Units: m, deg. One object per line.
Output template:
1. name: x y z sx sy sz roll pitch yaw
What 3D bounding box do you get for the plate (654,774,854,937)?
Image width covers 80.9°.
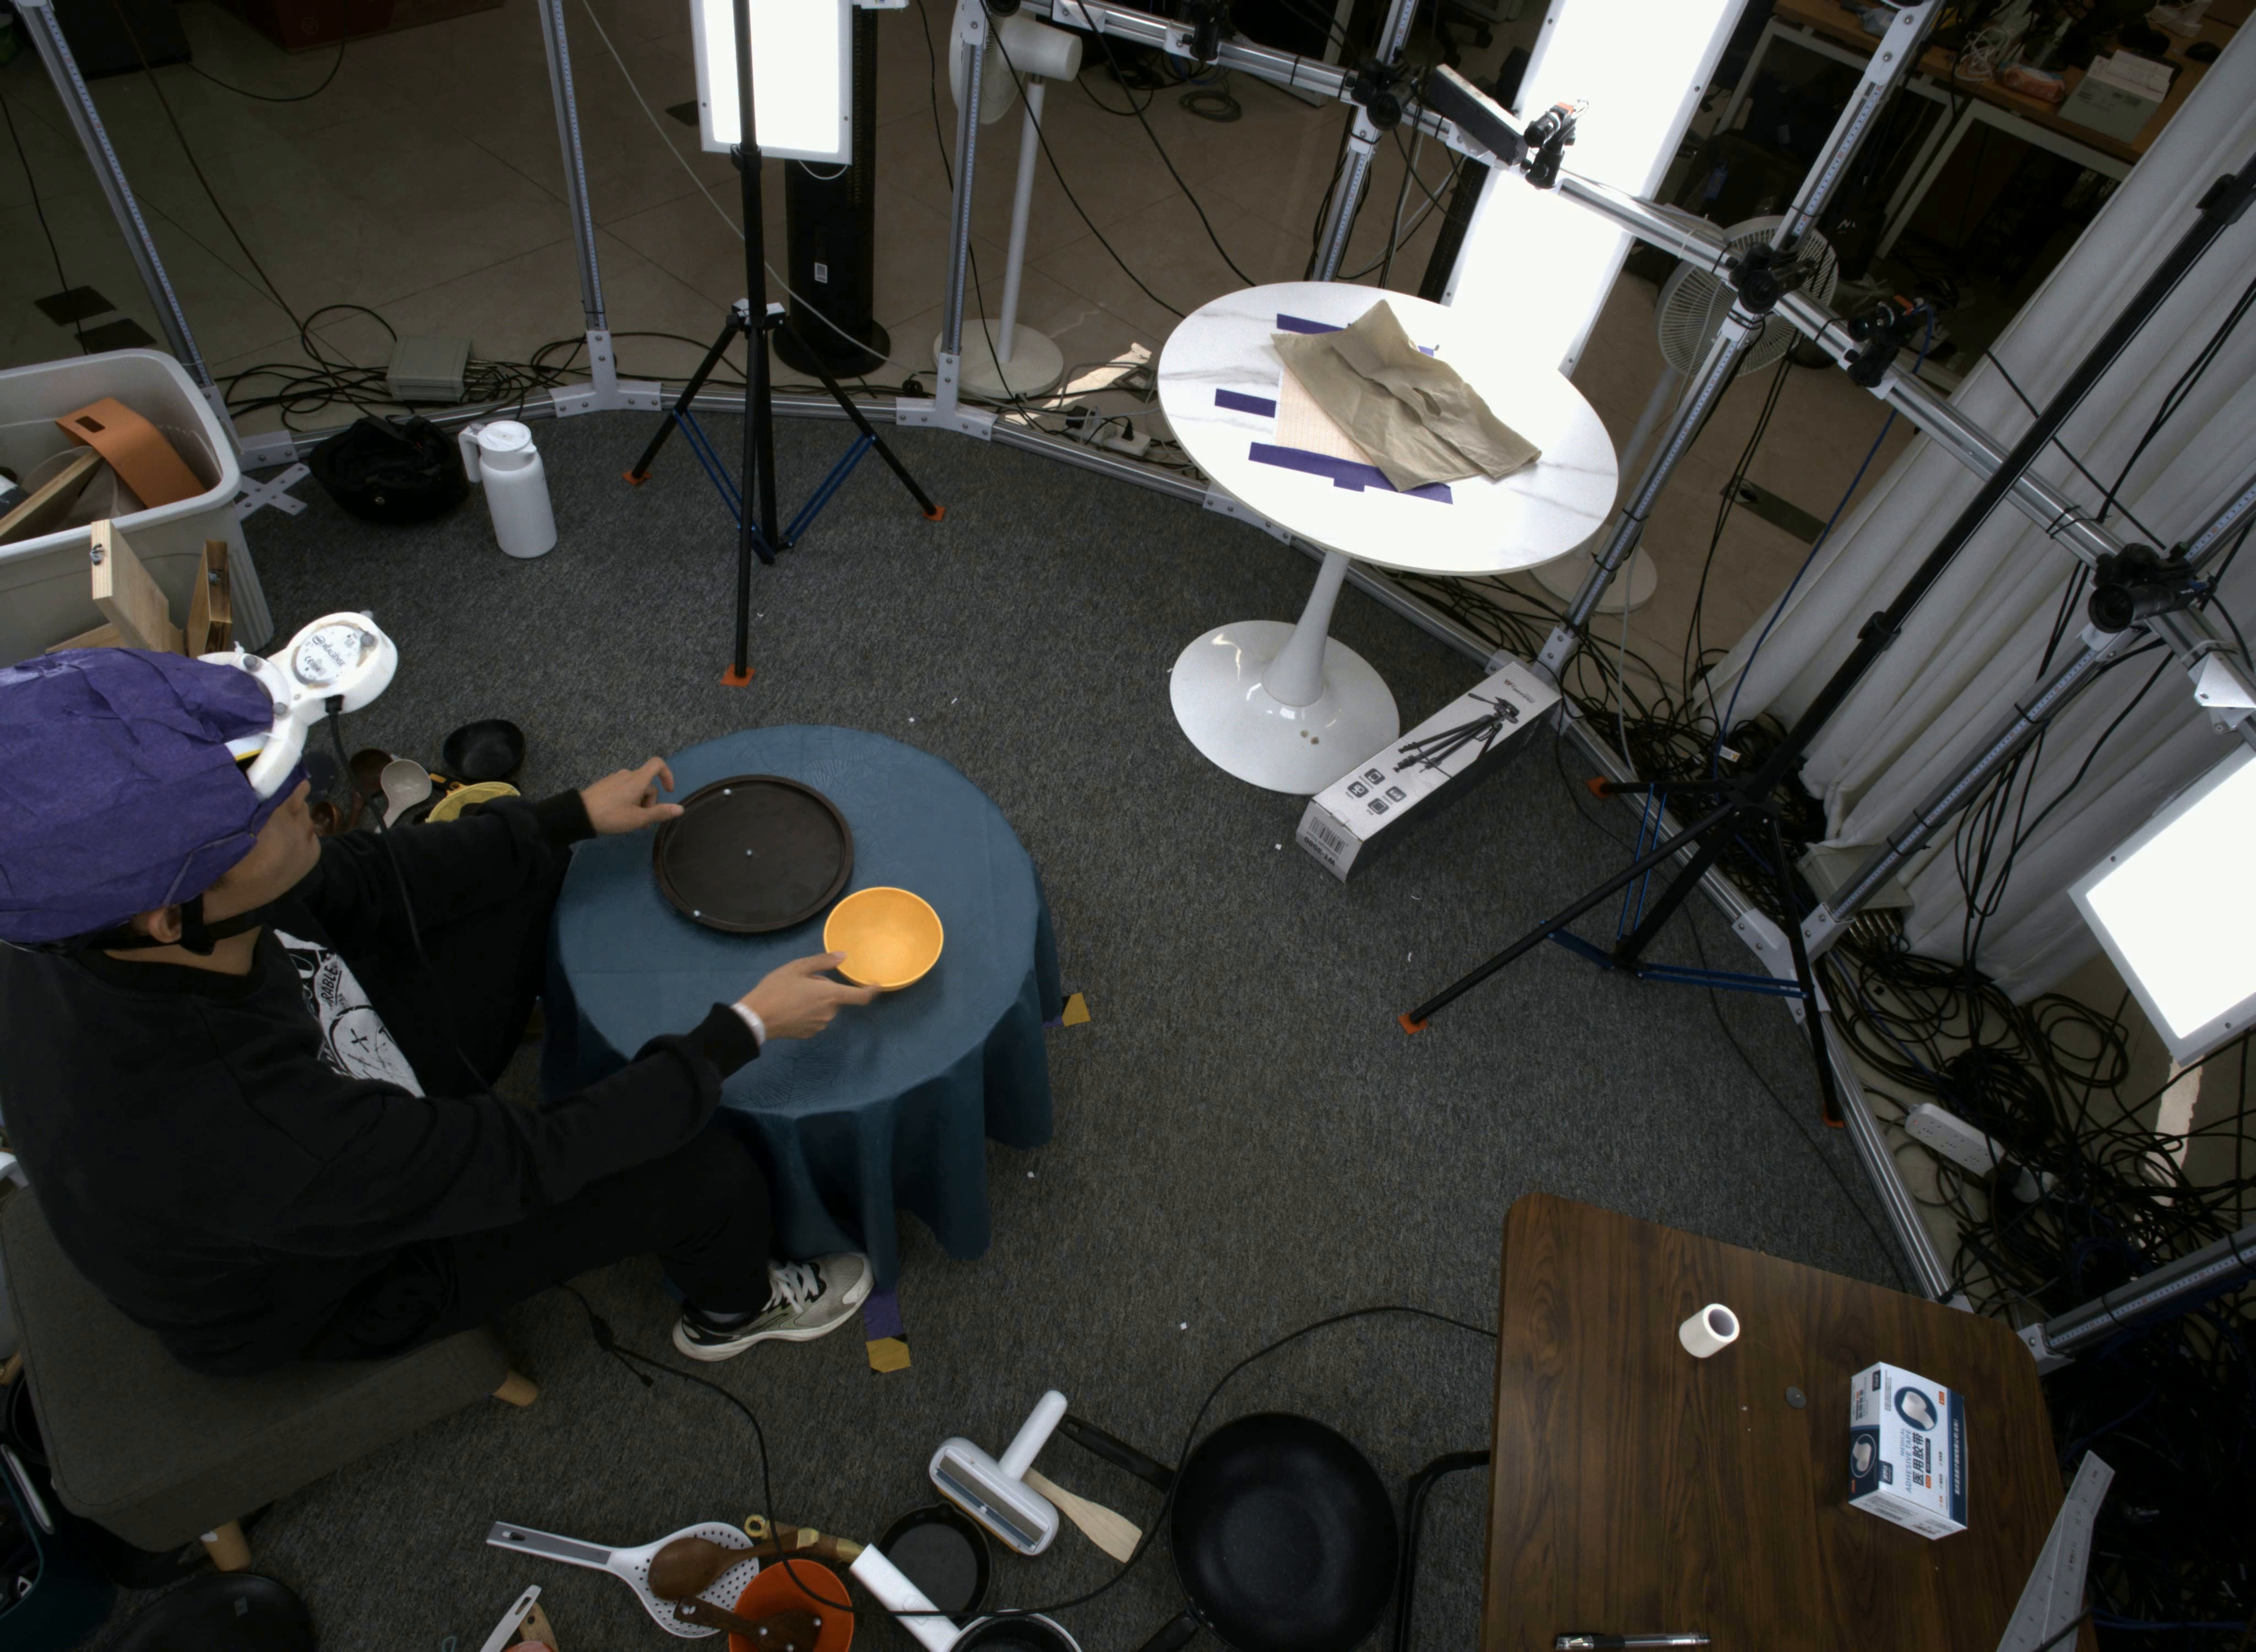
1. plate: -0.482 0.035 1.673 0.254 0.029 0.250 8 54 -9

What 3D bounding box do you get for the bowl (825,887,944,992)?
1. bowl: -0.301 0.150 1.613 0.144 0.061 0.143 6 53 -6
